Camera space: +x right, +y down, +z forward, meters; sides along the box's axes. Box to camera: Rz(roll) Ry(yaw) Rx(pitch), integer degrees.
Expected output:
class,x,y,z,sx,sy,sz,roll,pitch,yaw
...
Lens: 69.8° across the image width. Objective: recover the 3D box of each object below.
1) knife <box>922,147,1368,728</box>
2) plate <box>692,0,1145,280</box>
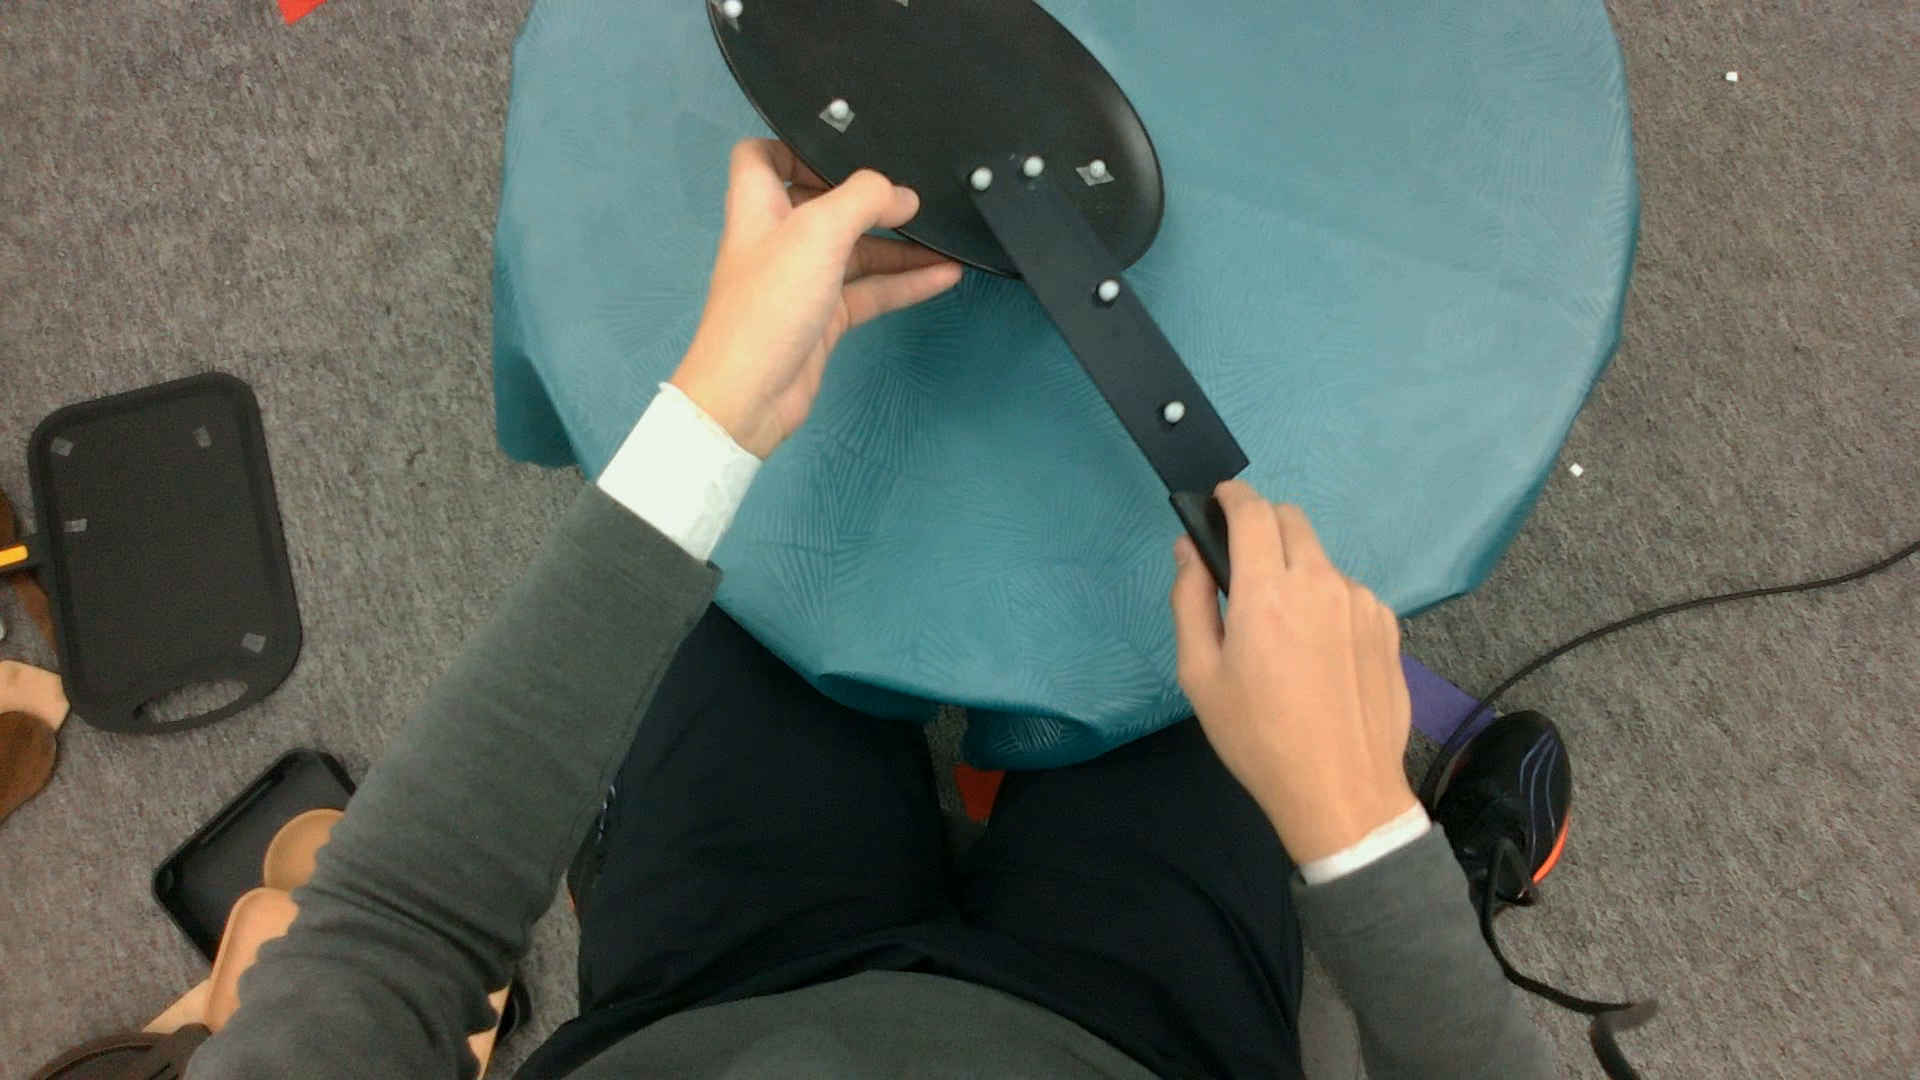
class,x,y,z,sx,sy,sz,roll,pitch,yaw
knife,0.085,-0.047,0.602,0.081,0.021,0.302,-29,84,-46
plate,-0.017,-0.213,0.661,0.244,0.023,0.245,20,47,-22
